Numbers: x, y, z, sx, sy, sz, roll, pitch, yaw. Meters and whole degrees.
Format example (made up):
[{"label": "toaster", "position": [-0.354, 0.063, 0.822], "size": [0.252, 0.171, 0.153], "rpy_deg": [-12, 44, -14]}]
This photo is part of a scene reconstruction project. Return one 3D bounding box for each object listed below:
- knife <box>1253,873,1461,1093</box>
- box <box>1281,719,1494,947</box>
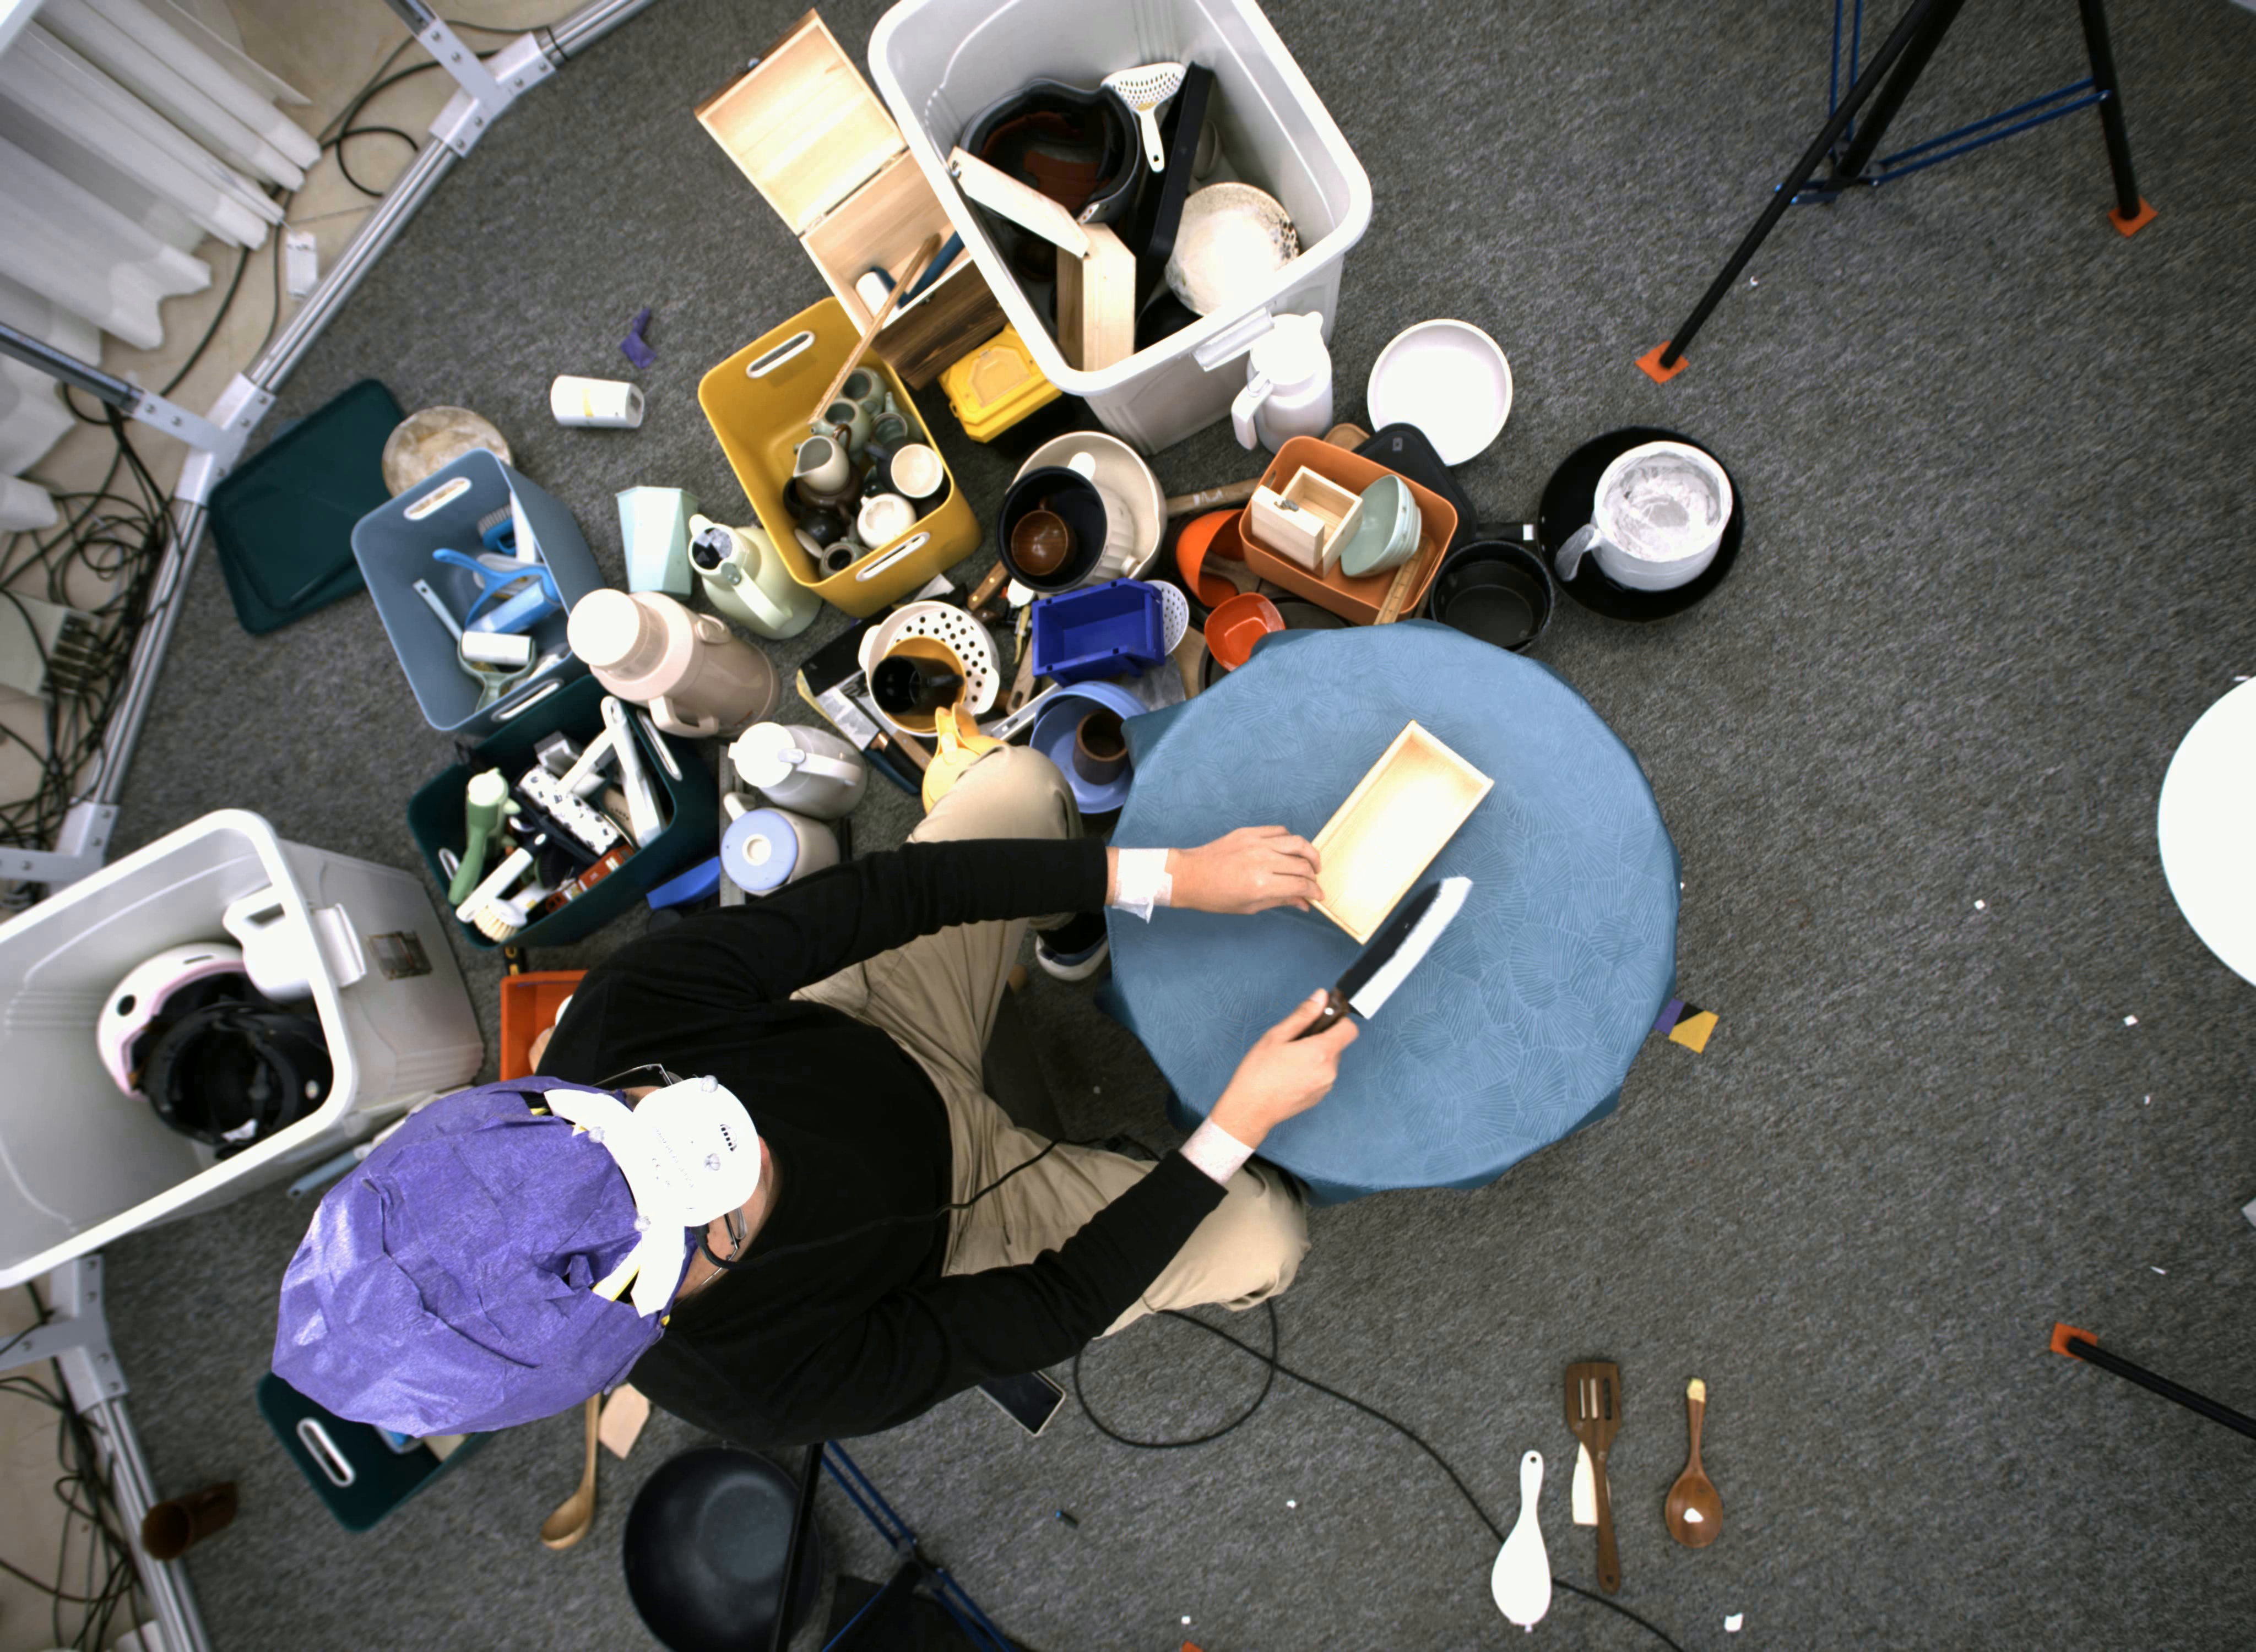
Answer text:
[{"label": "knife", "position": [0.225, 0.152, 1.351], "size": [0.050, 0.020, 0.291], "rpy_deg": [43, 97, 11]}, {"label": "box", "position": [0.267, 0.008, 1.424], "size": [0.107, 0.080, 0.212], "rpy_deg": [39, 93, 11]}]
